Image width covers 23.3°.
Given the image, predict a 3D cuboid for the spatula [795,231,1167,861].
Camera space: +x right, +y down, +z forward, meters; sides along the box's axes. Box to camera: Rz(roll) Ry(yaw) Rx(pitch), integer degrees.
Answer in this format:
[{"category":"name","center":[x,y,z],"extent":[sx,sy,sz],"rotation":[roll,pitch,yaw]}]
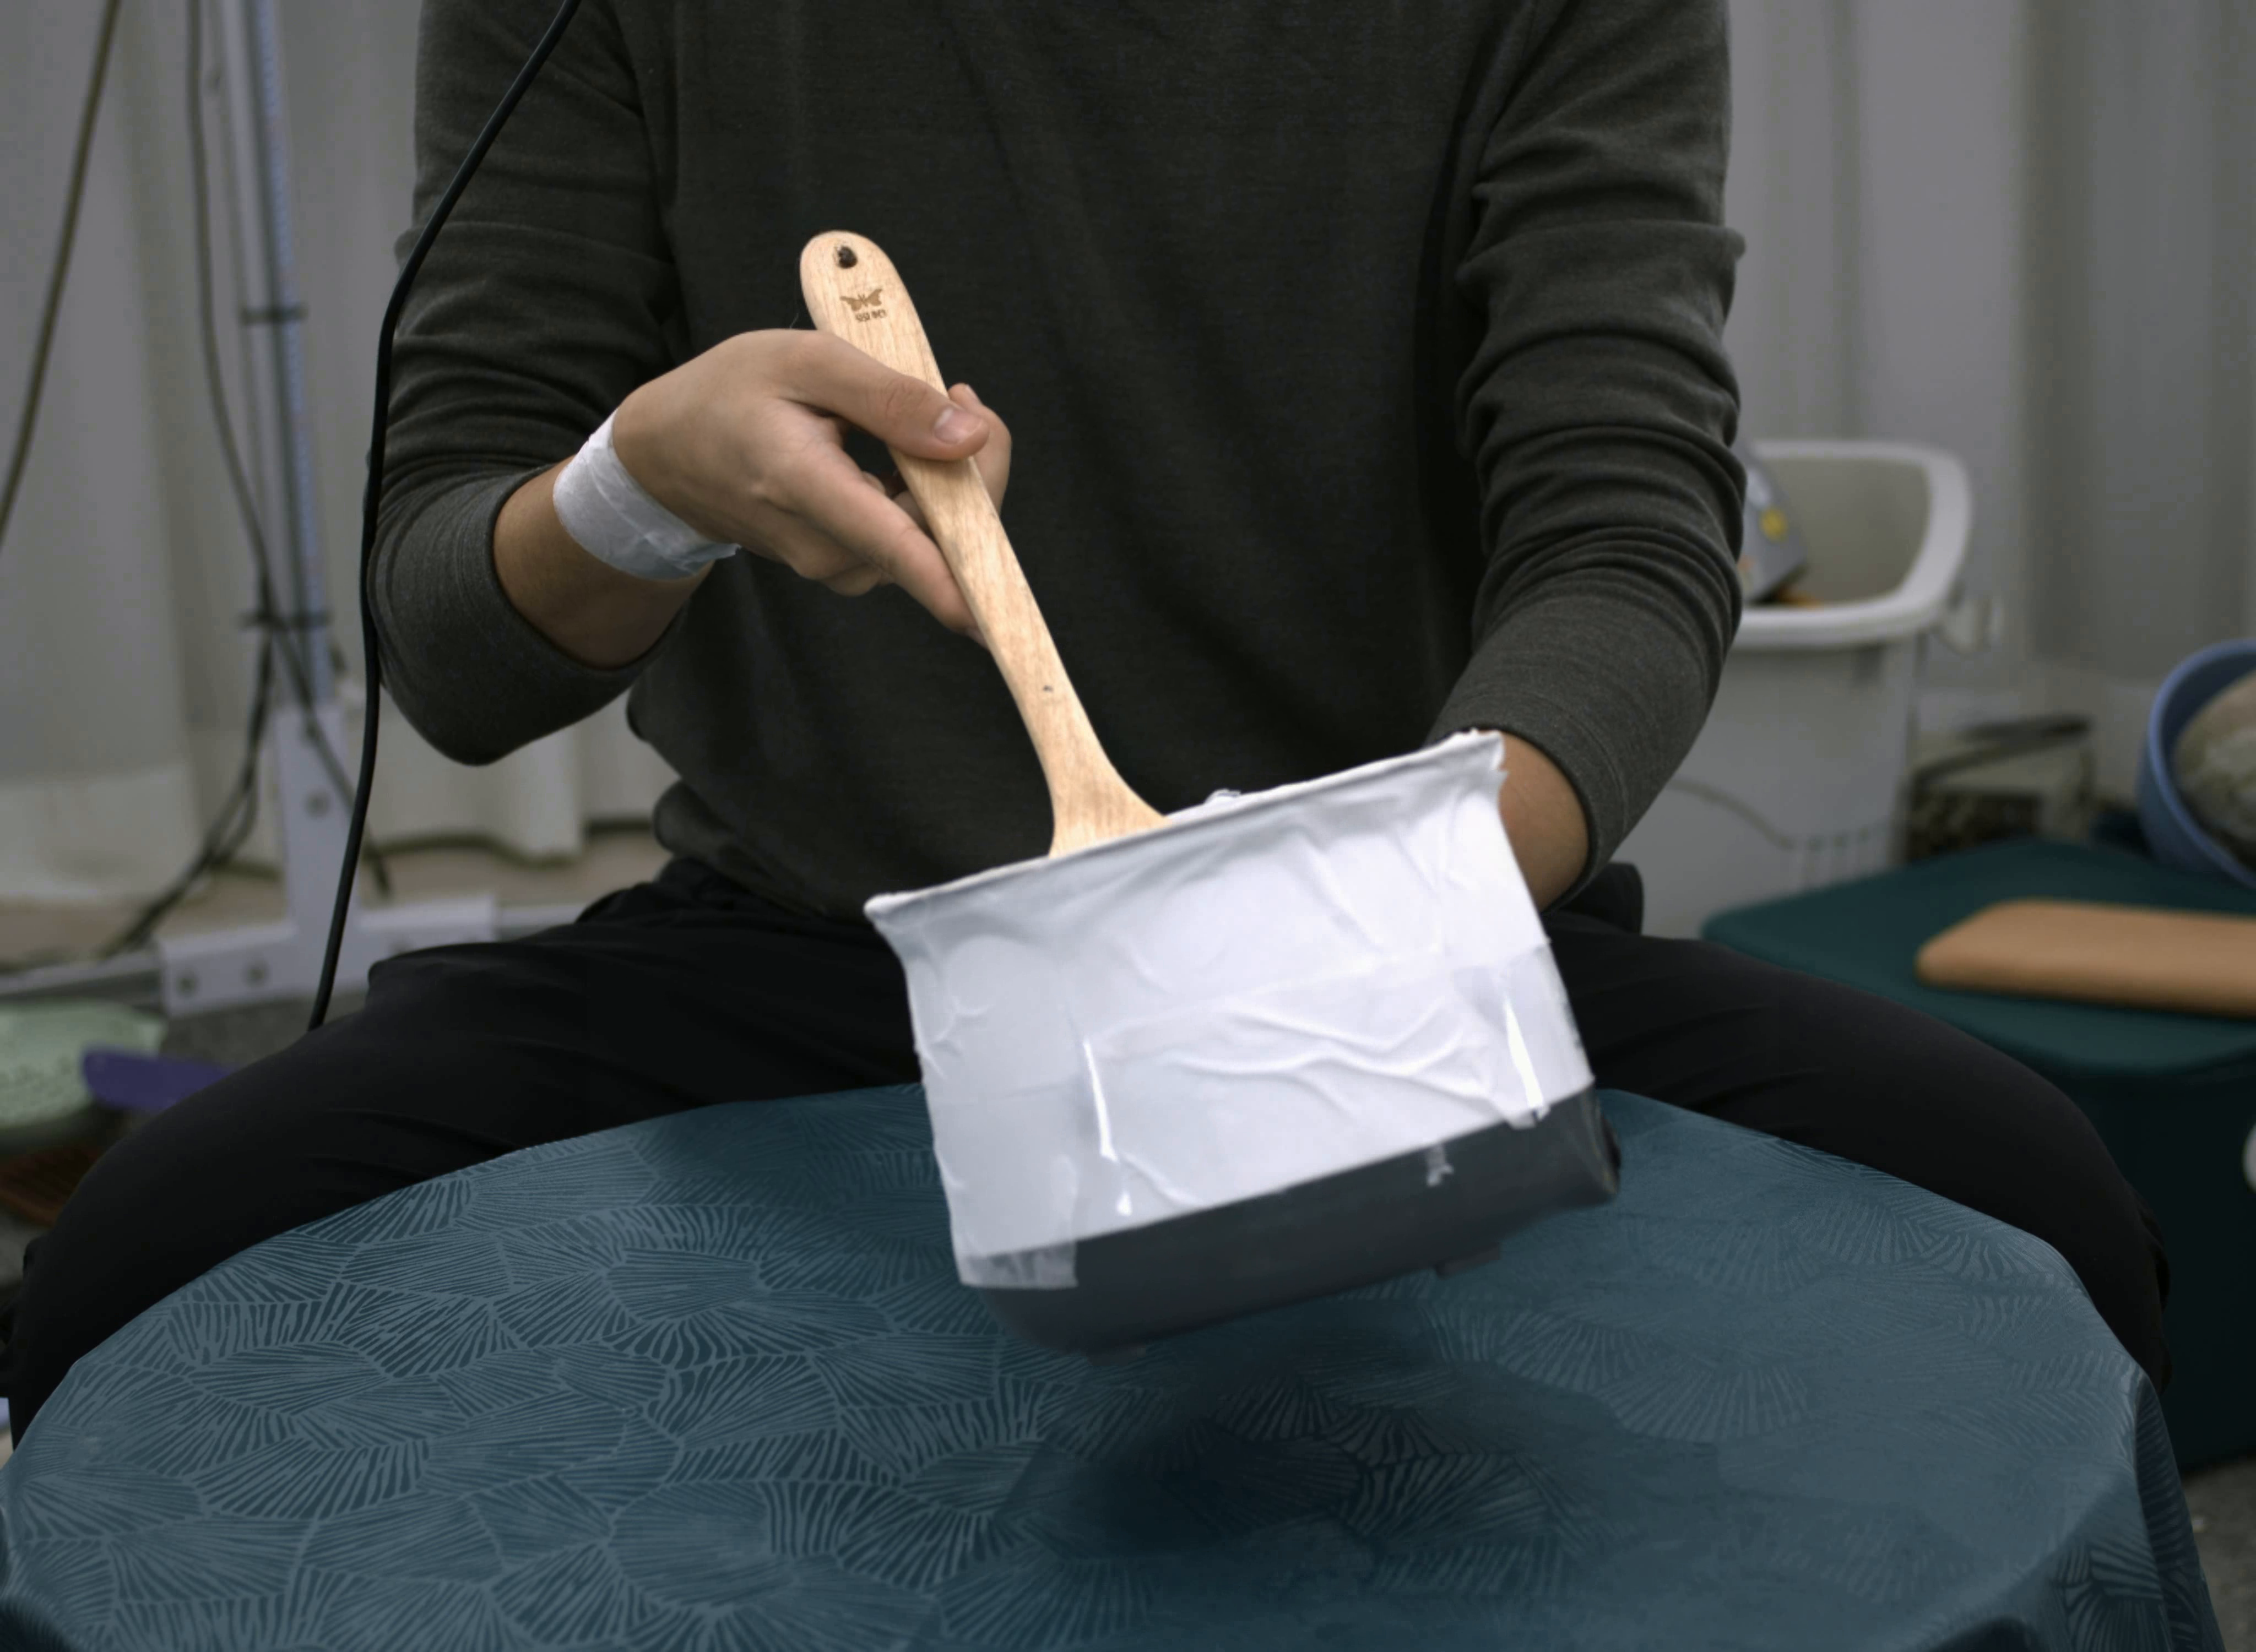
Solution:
[{"category":"spatula","center":[-0.039,-0.059,1.597],"extent":[0.095,0.018,0.397],"rotation":[-12,45,-14]}]

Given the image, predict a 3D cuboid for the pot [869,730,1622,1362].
[{"category":"pot","center":[0.035,0.058,1.488],"extent":[0.178,0.137,0.233],"rotation":[-14,0,6]}]
